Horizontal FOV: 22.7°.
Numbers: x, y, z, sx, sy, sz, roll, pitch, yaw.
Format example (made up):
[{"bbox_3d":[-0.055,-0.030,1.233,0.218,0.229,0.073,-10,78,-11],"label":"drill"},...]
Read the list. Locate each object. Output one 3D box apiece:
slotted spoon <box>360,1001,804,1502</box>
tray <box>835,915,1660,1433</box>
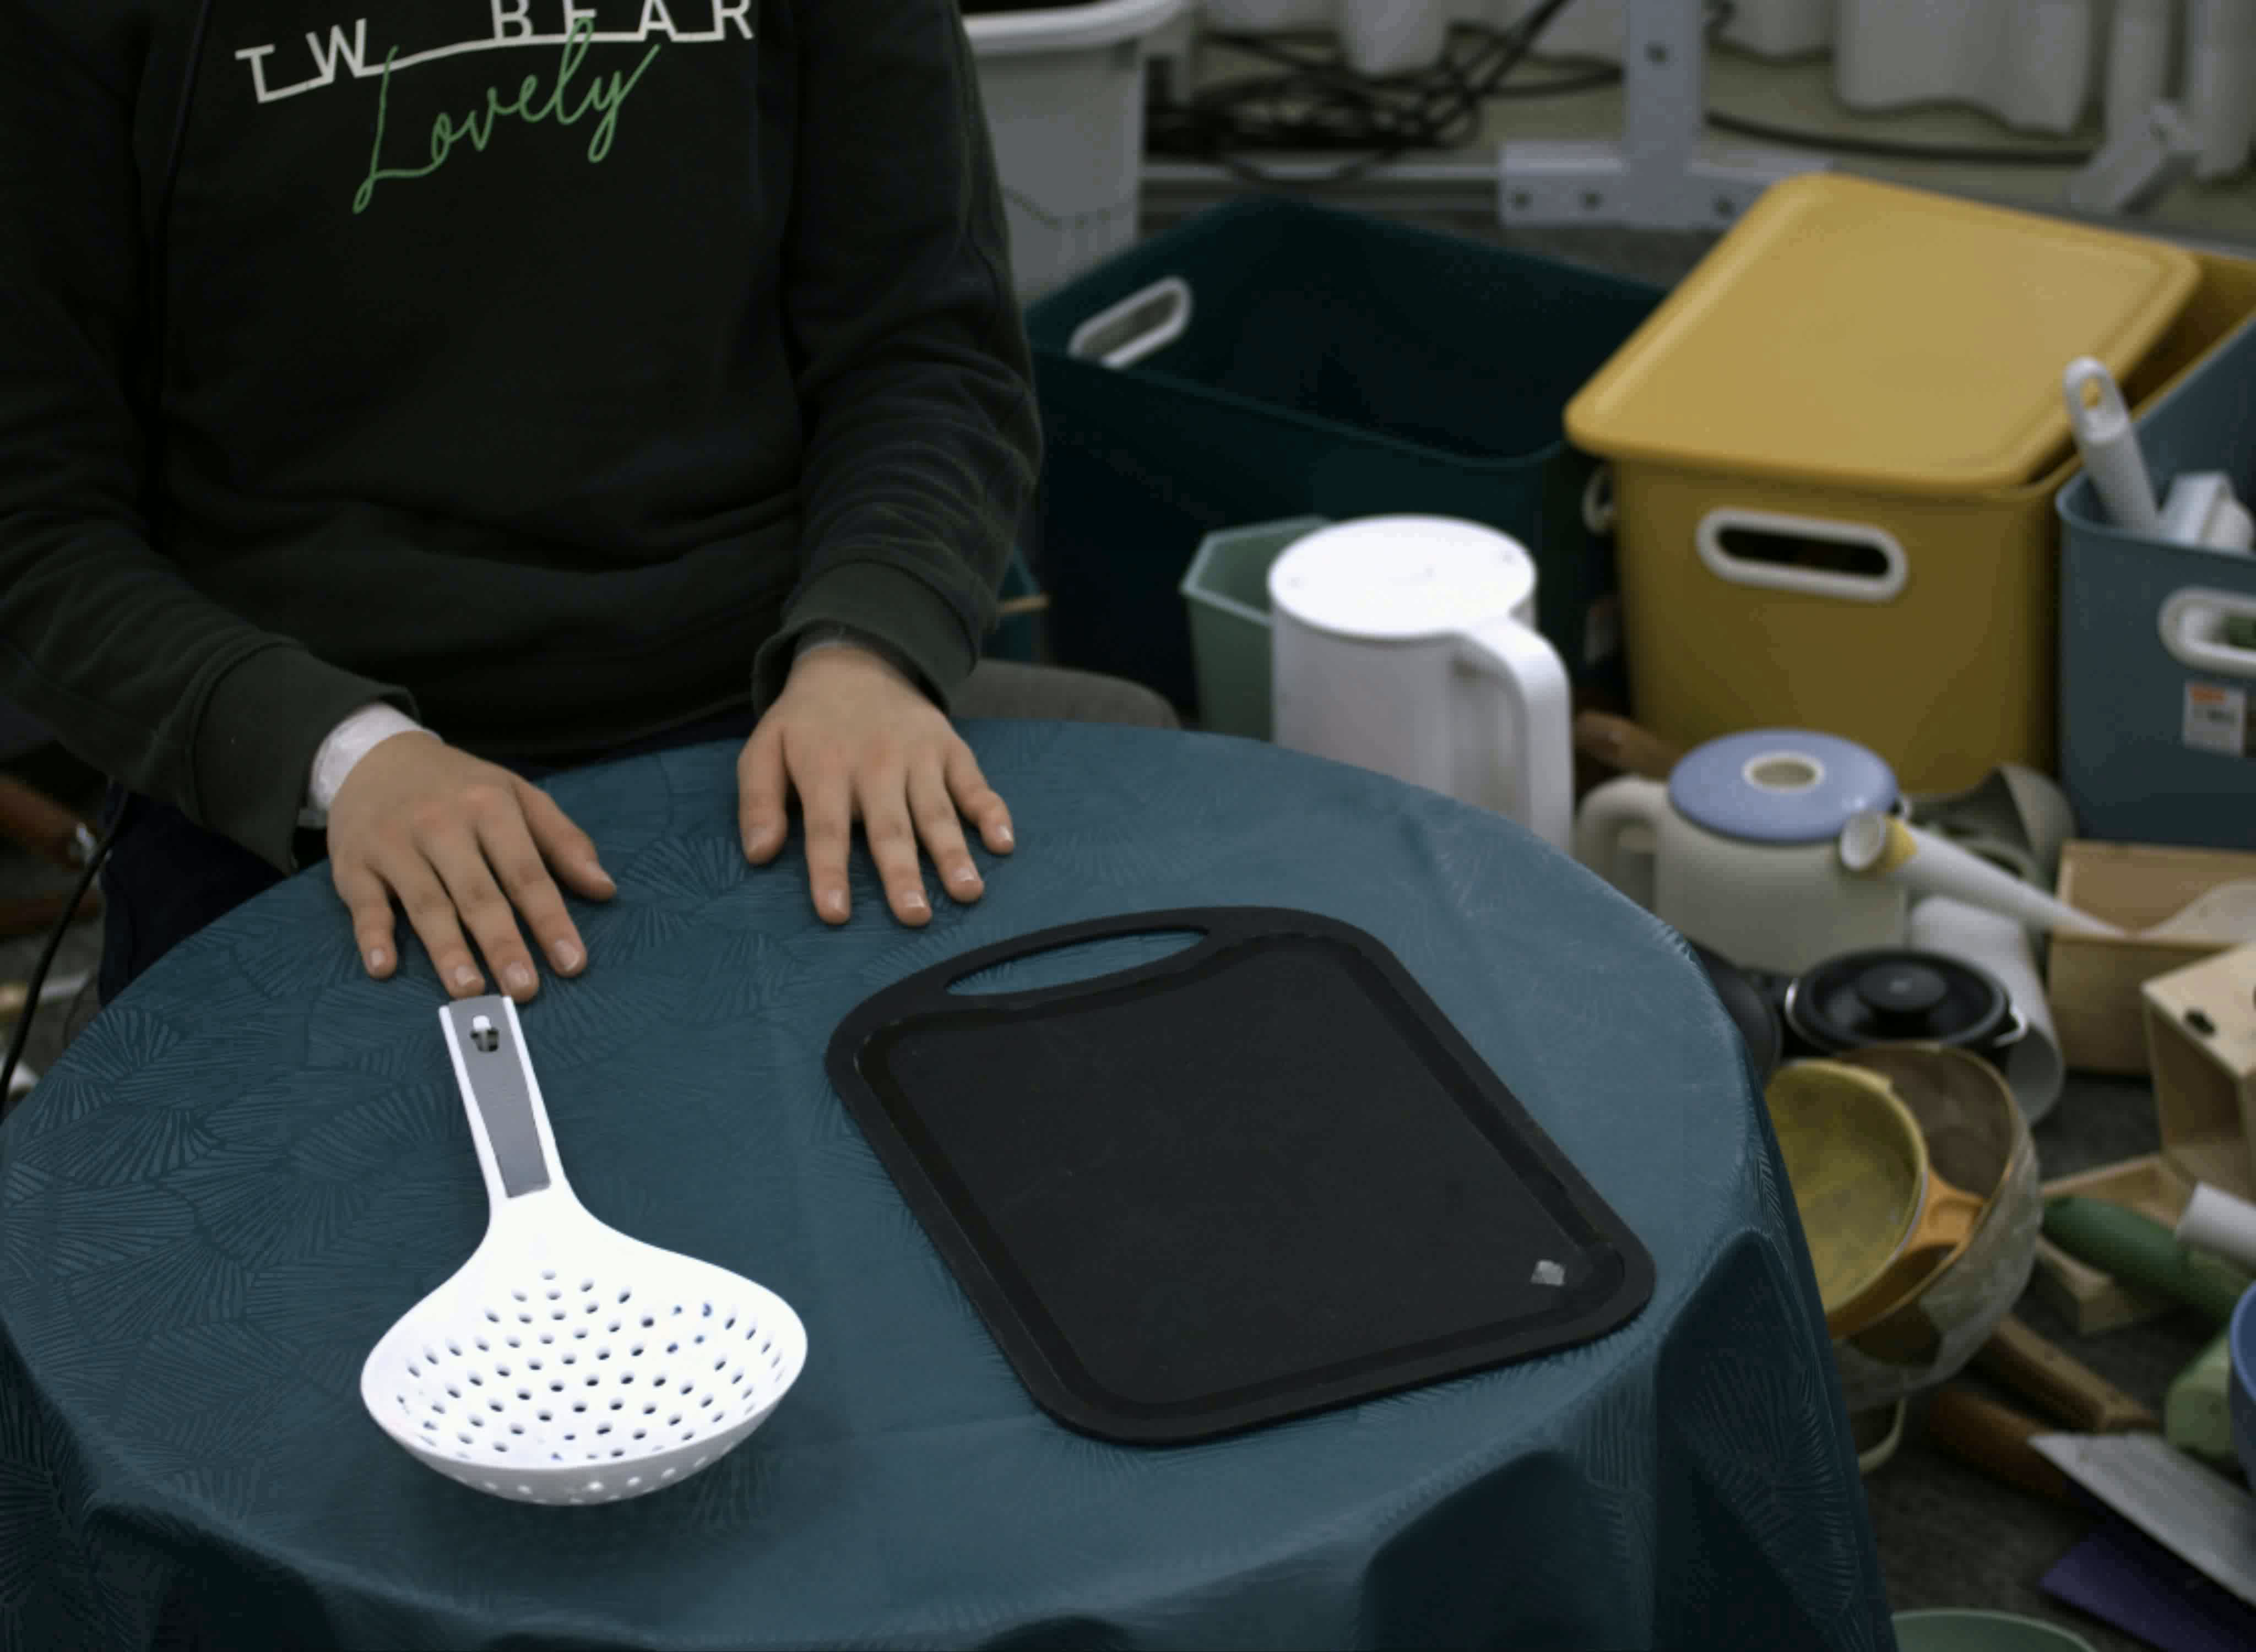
[{"bbox_3d":[-0.190,0.131,1.813,0.136,0.045,0.353,-6,26,-11],"label":"slotted spoon"},{"bbox_3d":[0.030,0.107,1.880,0.211,0.009,0.328,-11,28,-16],"label":"tray"}]
